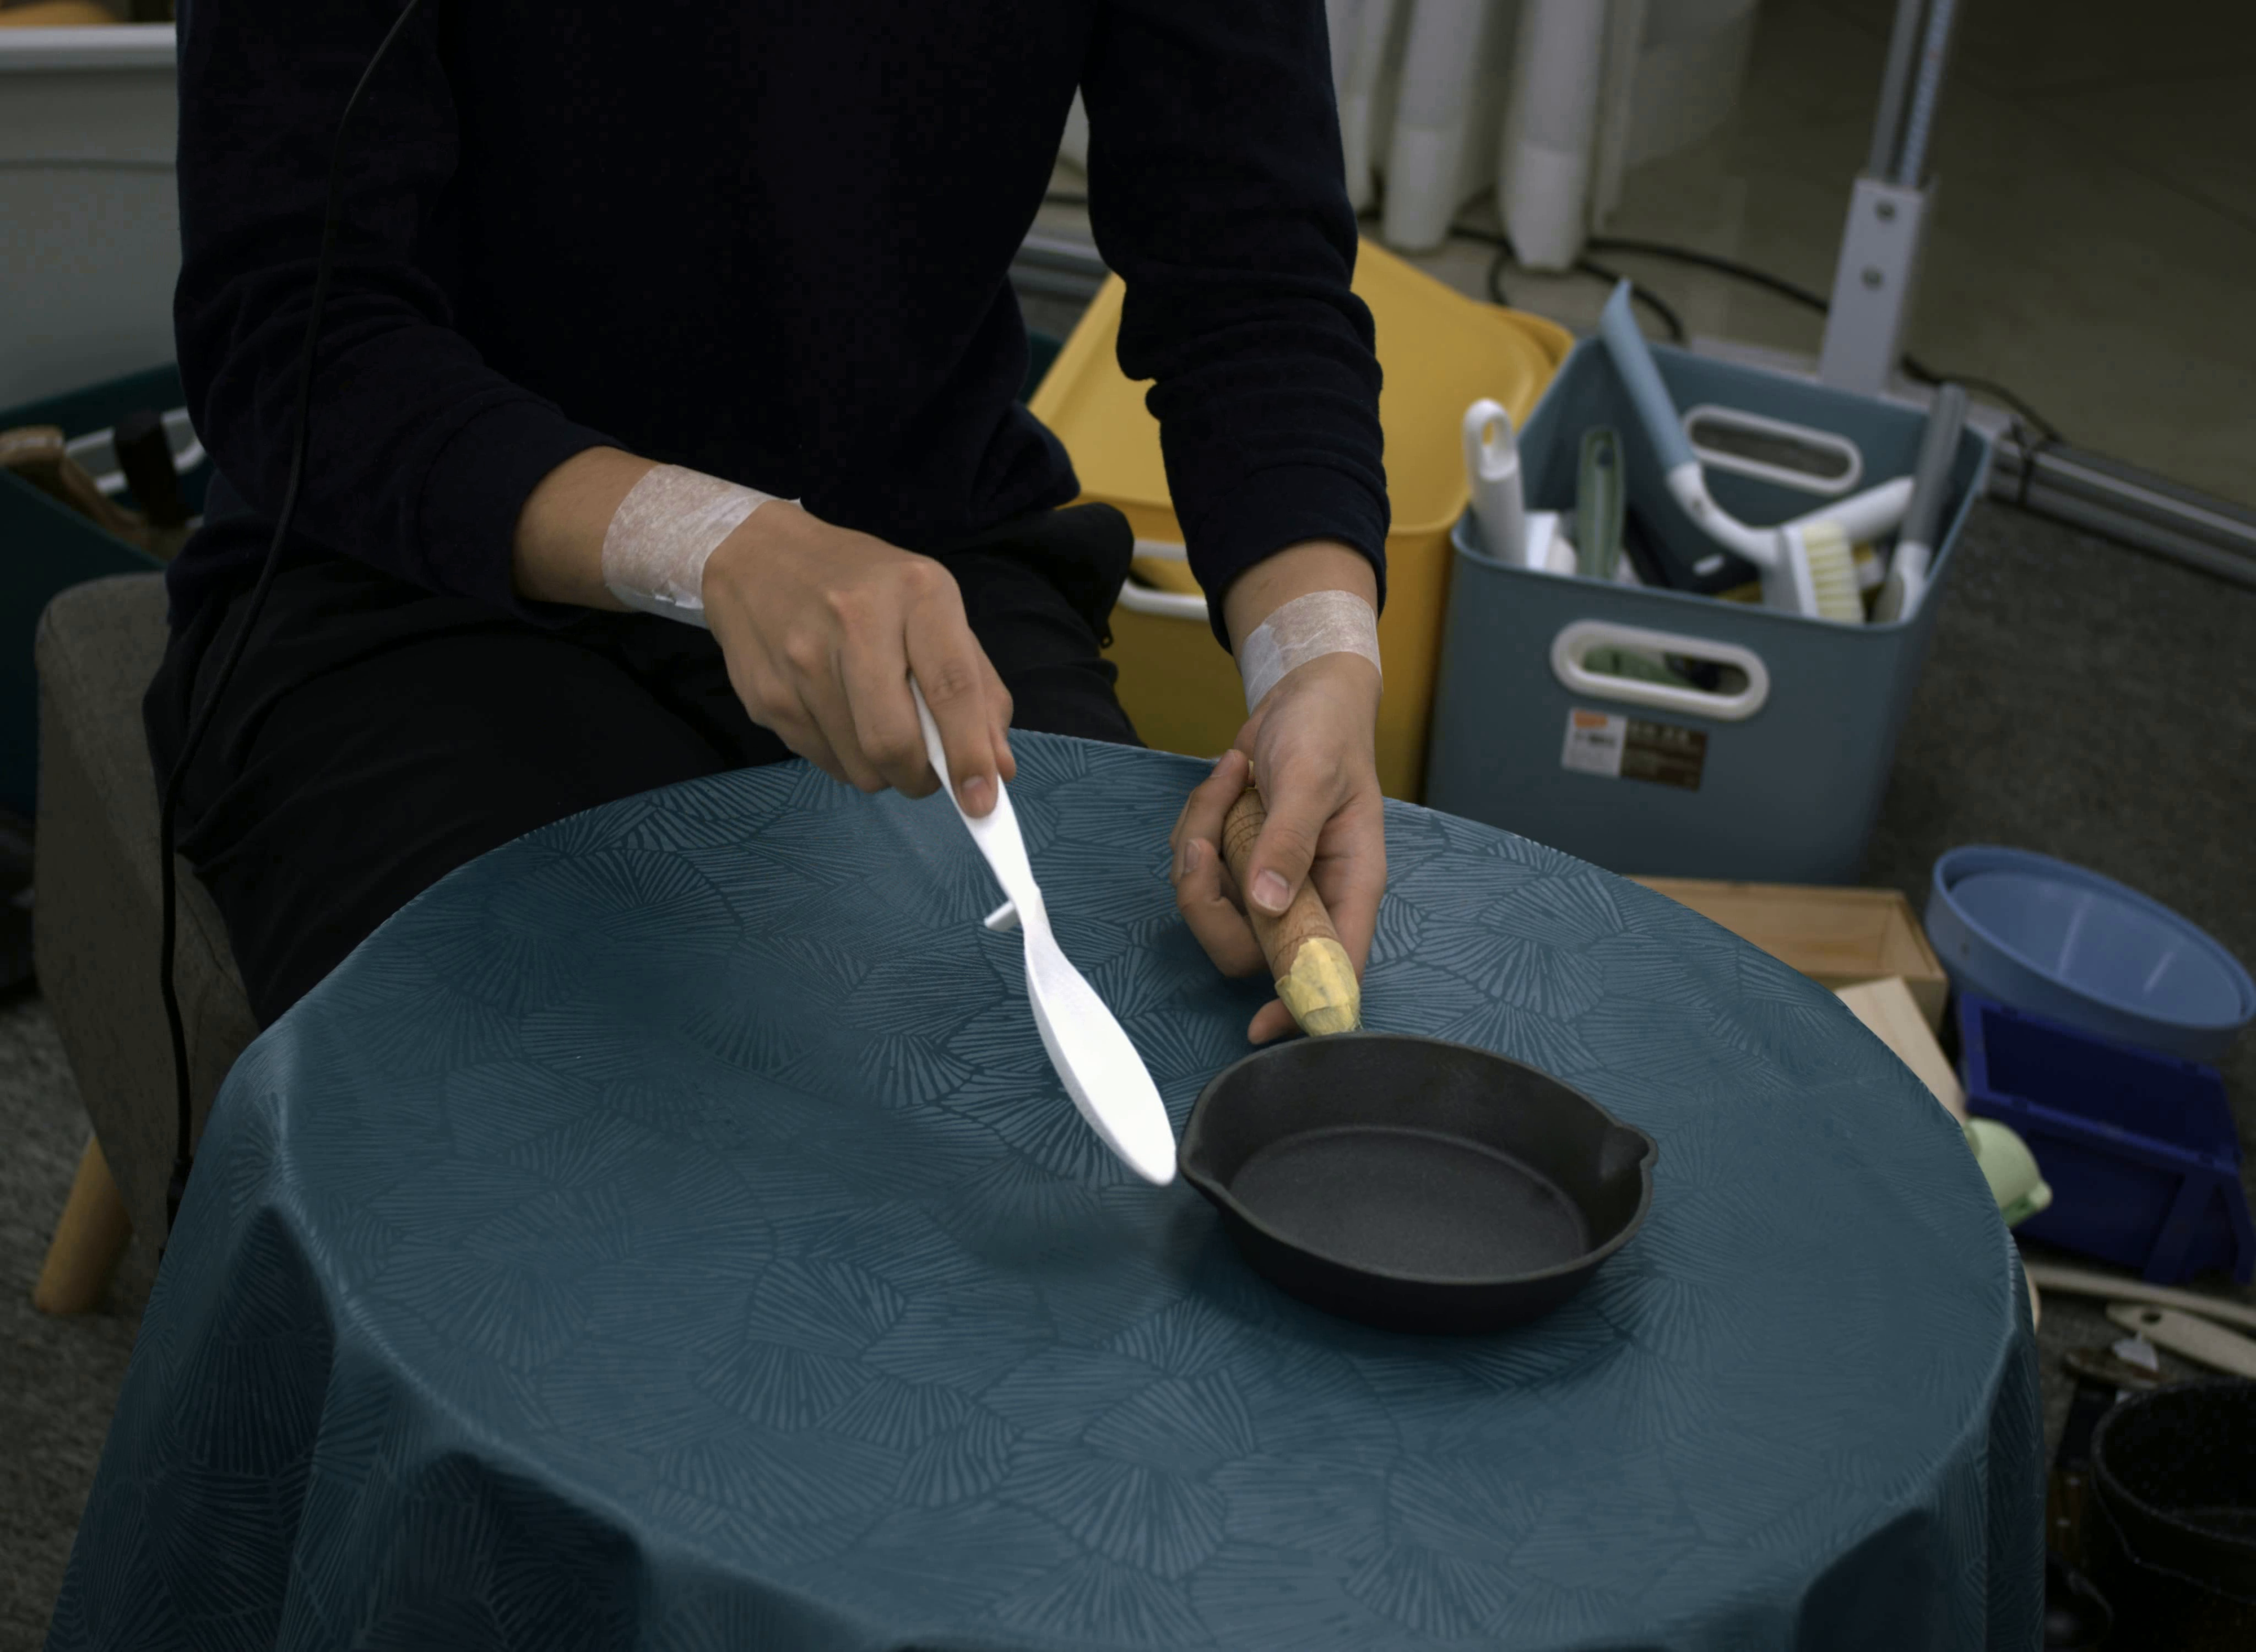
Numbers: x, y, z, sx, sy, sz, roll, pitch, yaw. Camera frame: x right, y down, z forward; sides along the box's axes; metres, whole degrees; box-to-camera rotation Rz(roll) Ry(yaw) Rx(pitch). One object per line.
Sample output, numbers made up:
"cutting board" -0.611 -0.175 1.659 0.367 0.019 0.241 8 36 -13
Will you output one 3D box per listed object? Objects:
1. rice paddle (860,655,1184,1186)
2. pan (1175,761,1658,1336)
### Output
"rice paddle" -0.031 0.033 1.781 0.207 0.029 0.068 61 17 22
"pan" 0.078 0.075 1.855 0.168 0.049 0.327 -1 30 -14
